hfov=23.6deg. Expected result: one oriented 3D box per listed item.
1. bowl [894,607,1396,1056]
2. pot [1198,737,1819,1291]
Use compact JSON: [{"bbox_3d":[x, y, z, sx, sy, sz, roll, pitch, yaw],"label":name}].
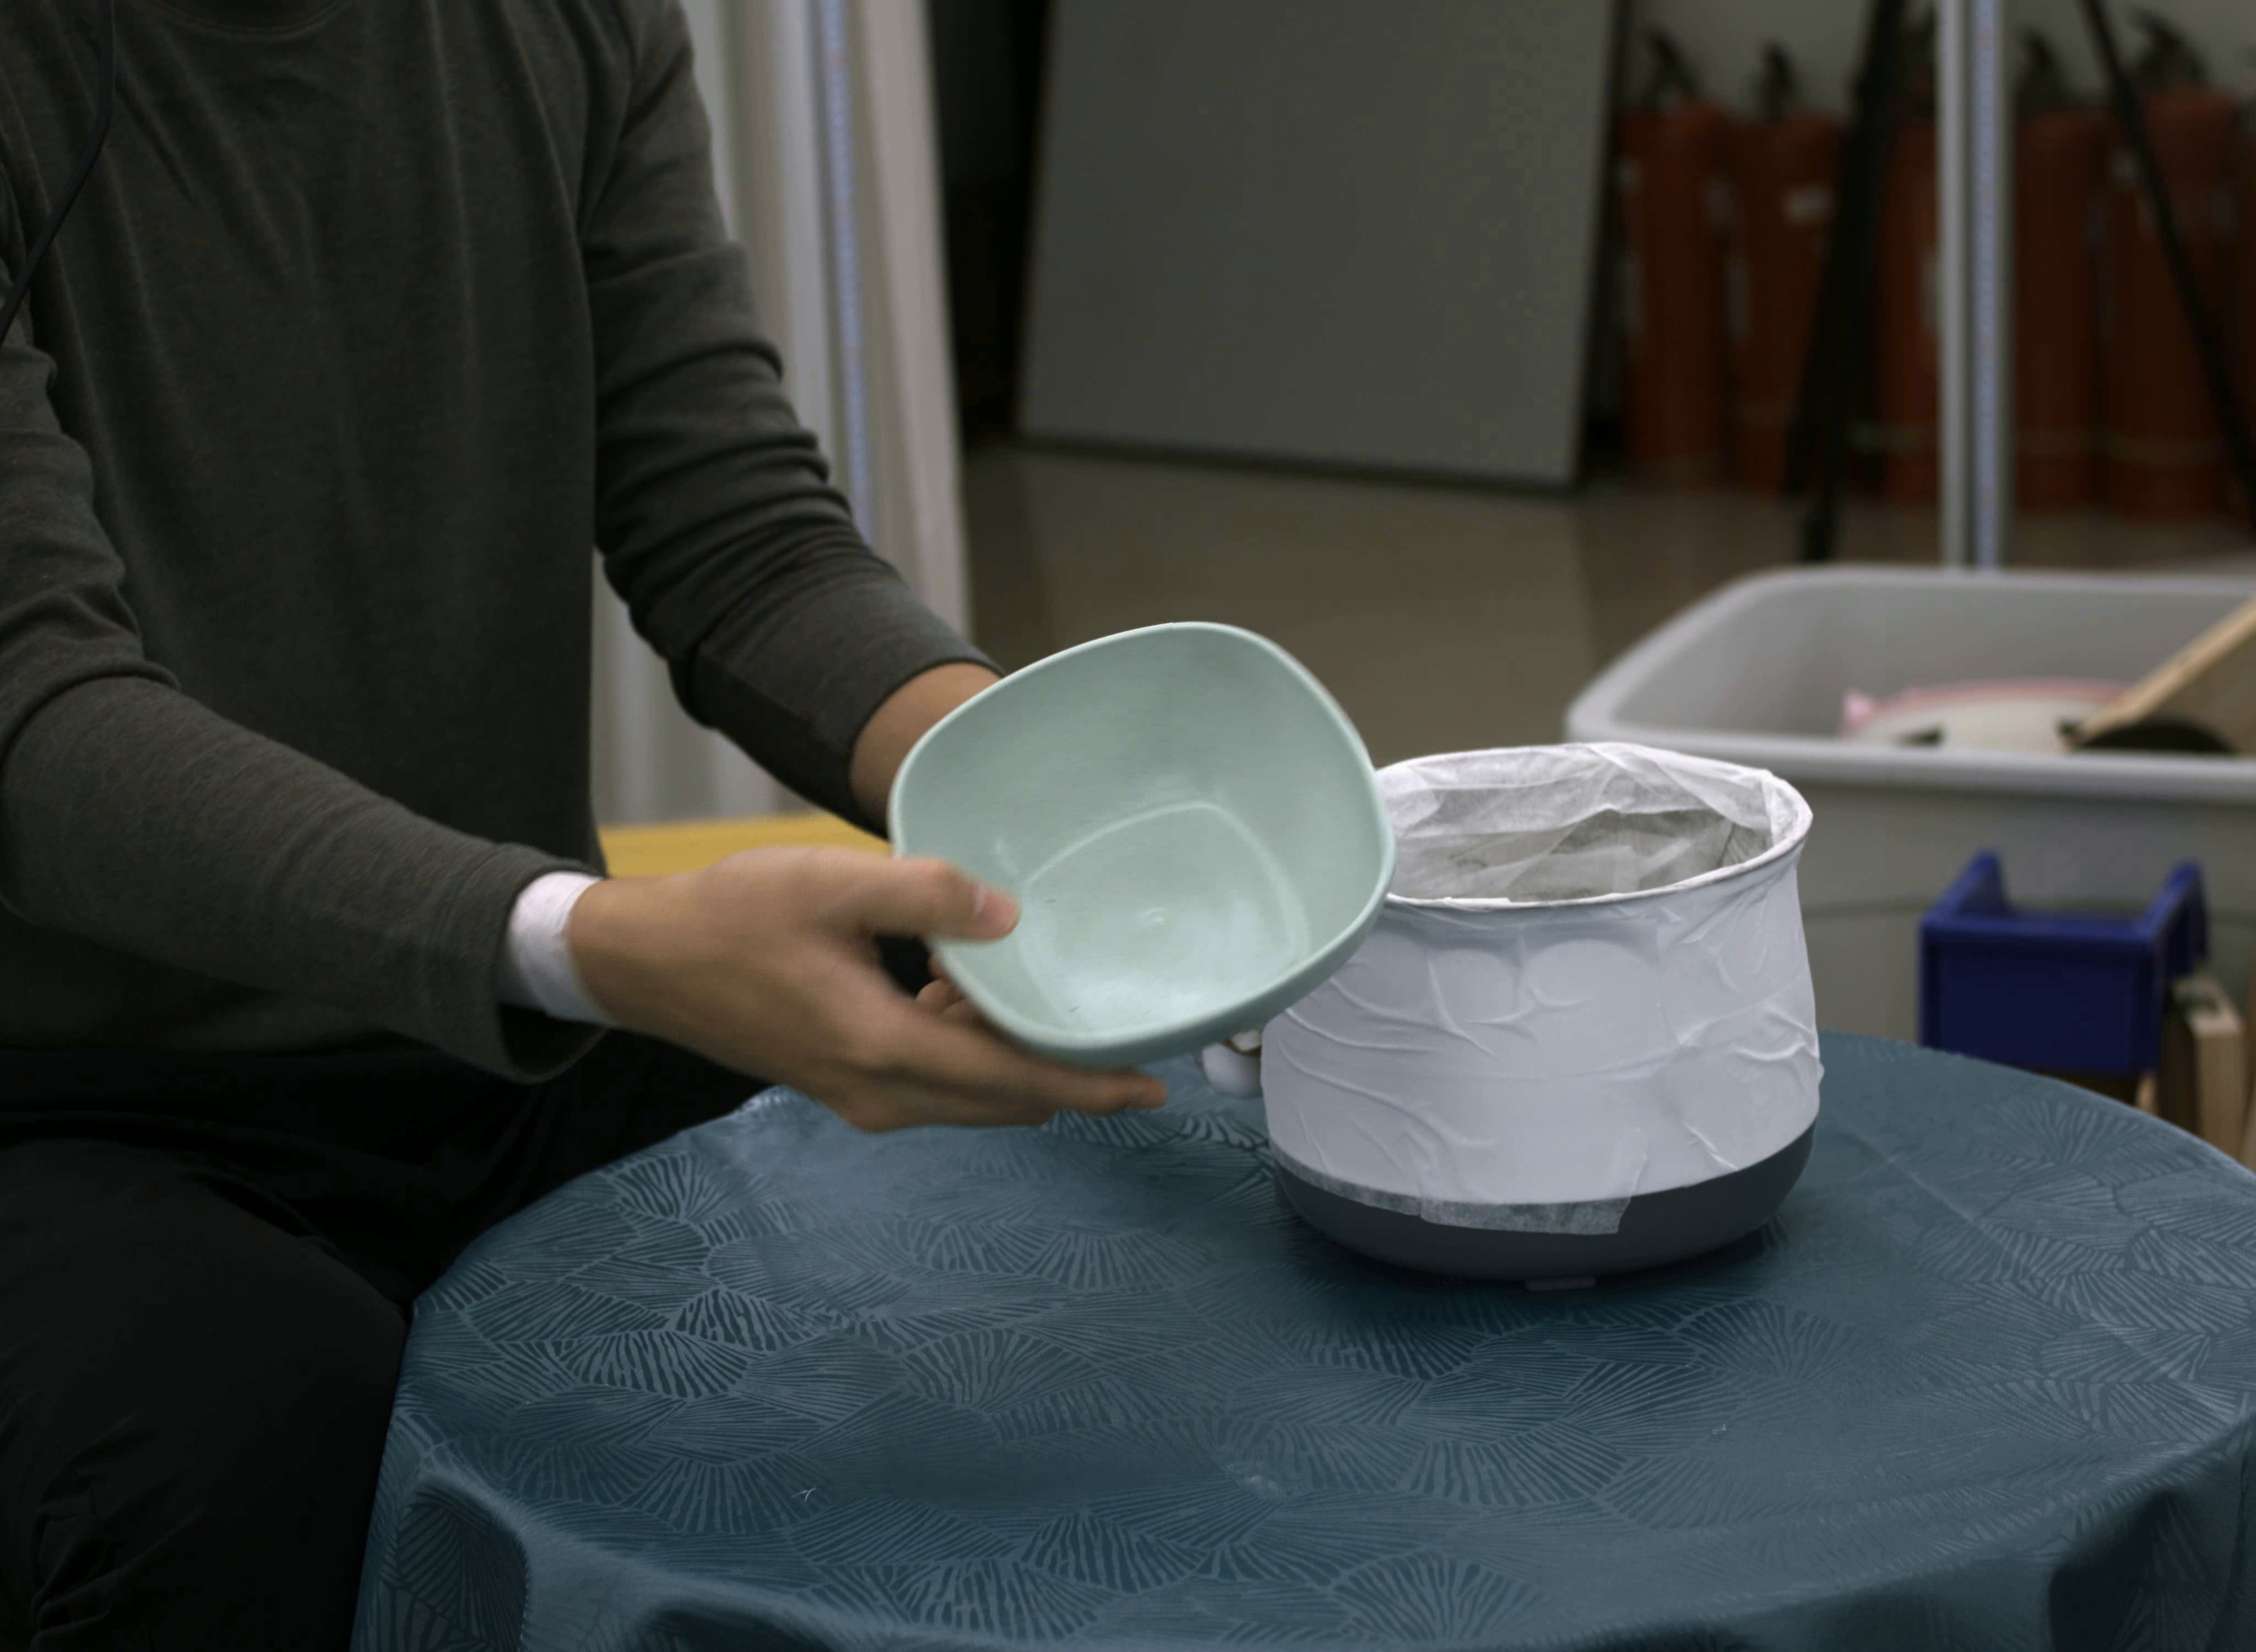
[{"bbox_3d":[0.007,0.012,1.564,0.150,0.058,0.153,-5,52,5],"label":"bowl"},{"bbox_3d":[0.110,0.053,1.717,0.175,0.138,0.236,-18,20,-42],"label":"pot"}]
